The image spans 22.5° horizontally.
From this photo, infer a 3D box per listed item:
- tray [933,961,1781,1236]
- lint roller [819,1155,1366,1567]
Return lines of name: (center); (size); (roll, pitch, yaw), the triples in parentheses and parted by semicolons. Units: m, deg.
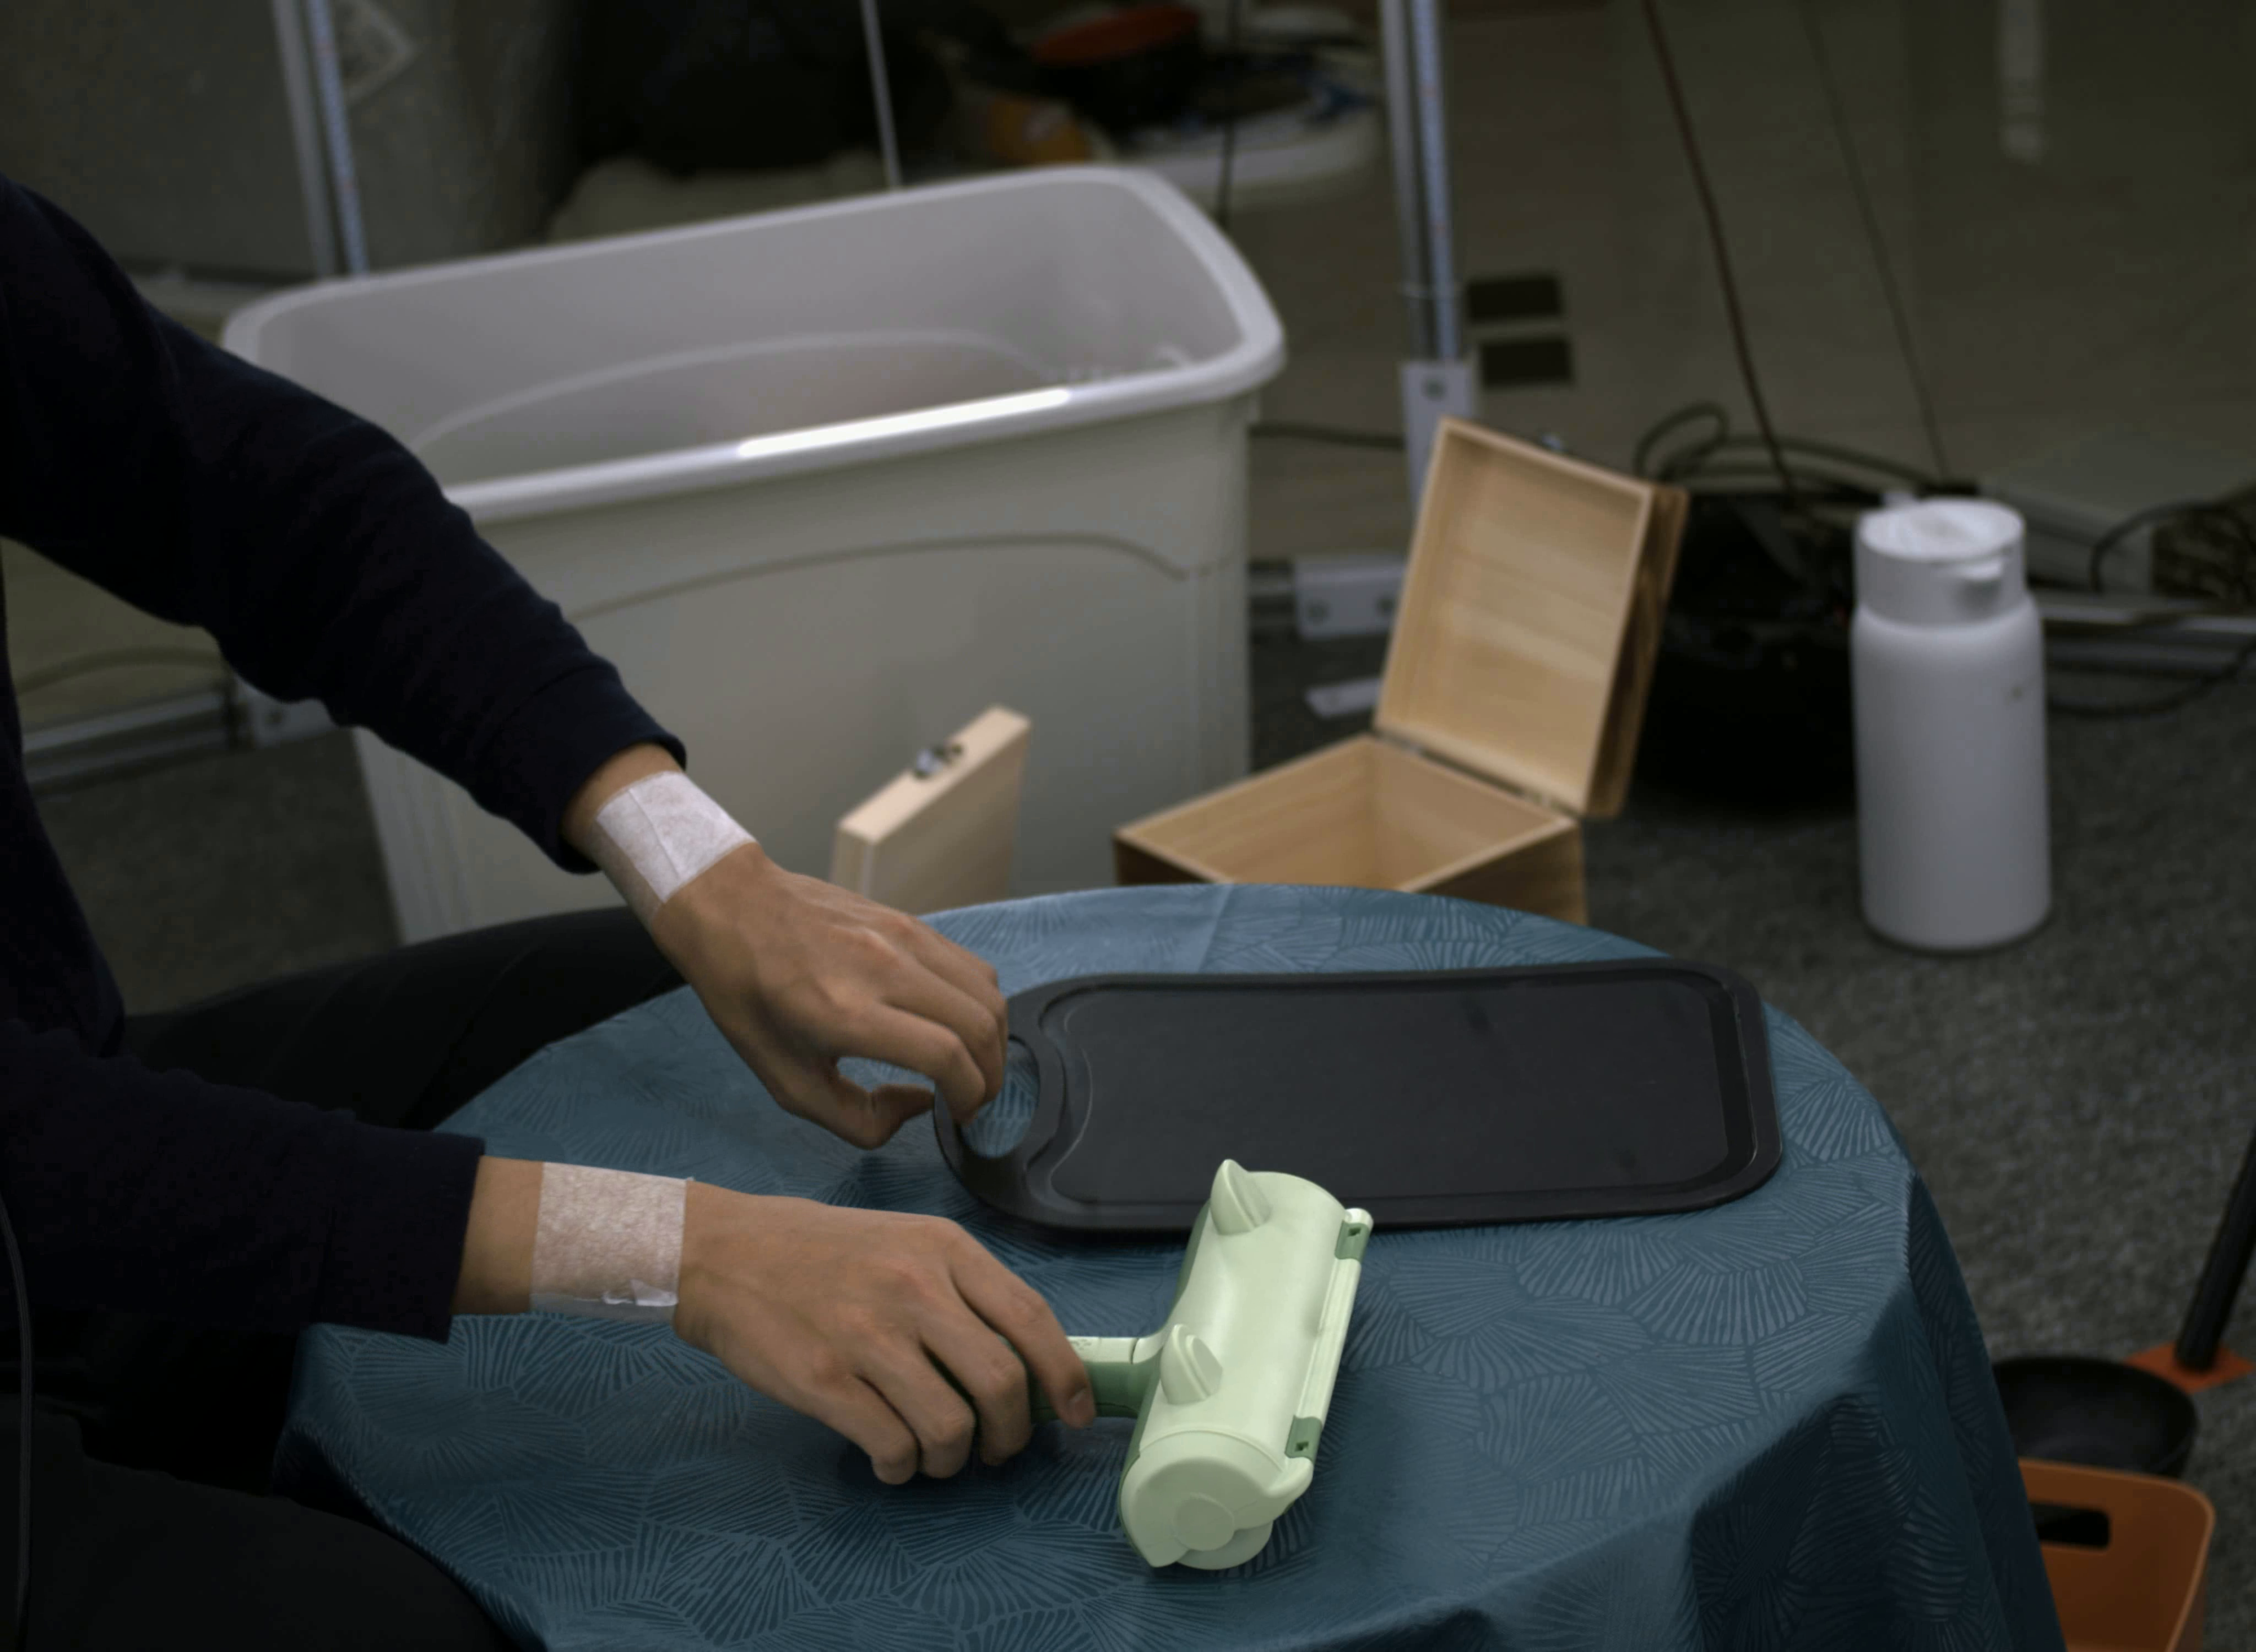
tray: (0.086, 0.102, 2.189); (0.325, 0.010, 0.208); (-2, 25, 4)
lint roller: (-0.018, 0.175, 1.971); (0.183, 0.083, 0.196); (4, 26, 7)
